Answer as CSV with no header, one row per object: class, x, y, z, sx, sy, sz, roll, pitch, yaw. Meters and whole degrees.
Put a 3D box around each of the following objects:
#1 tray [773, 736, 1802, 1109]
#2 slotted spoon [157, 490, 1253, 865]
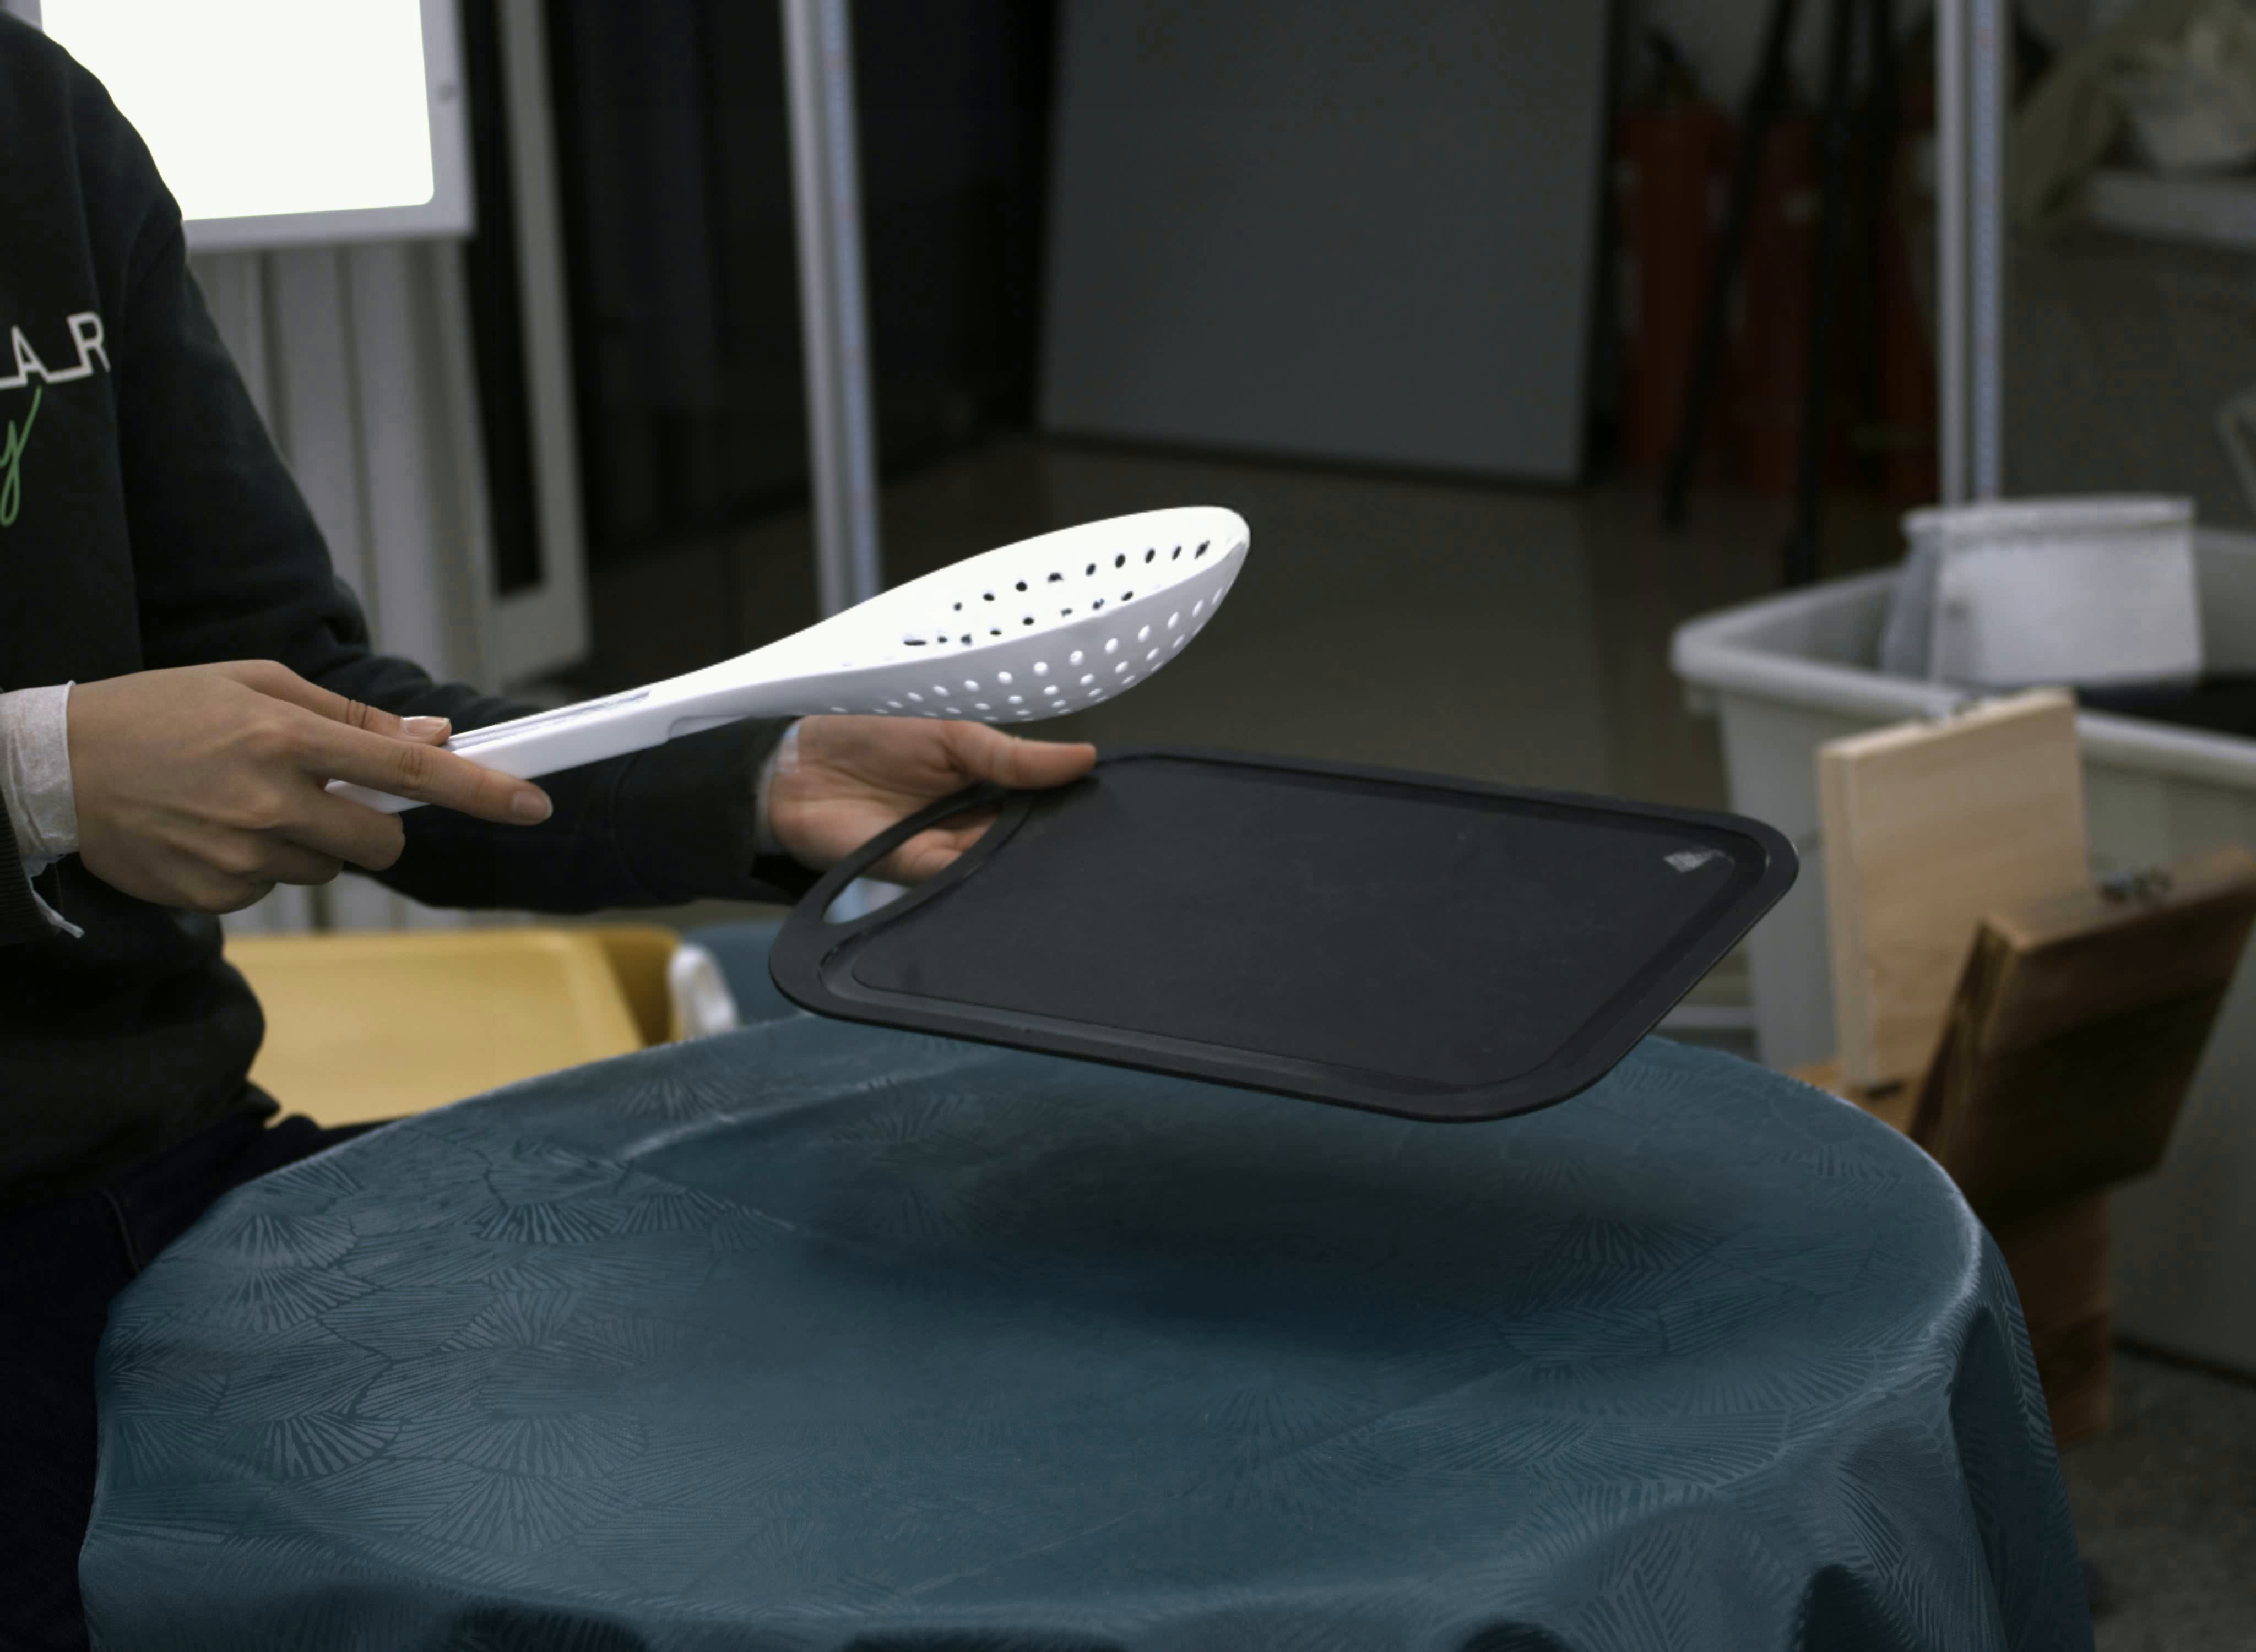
tray,0.042,0.025,1.739,0.327,0.010,0.208,8,30,34
slotted spoon,-0.127,-0.042,1.631,0.346,0.046,0.136,-11,13,6
